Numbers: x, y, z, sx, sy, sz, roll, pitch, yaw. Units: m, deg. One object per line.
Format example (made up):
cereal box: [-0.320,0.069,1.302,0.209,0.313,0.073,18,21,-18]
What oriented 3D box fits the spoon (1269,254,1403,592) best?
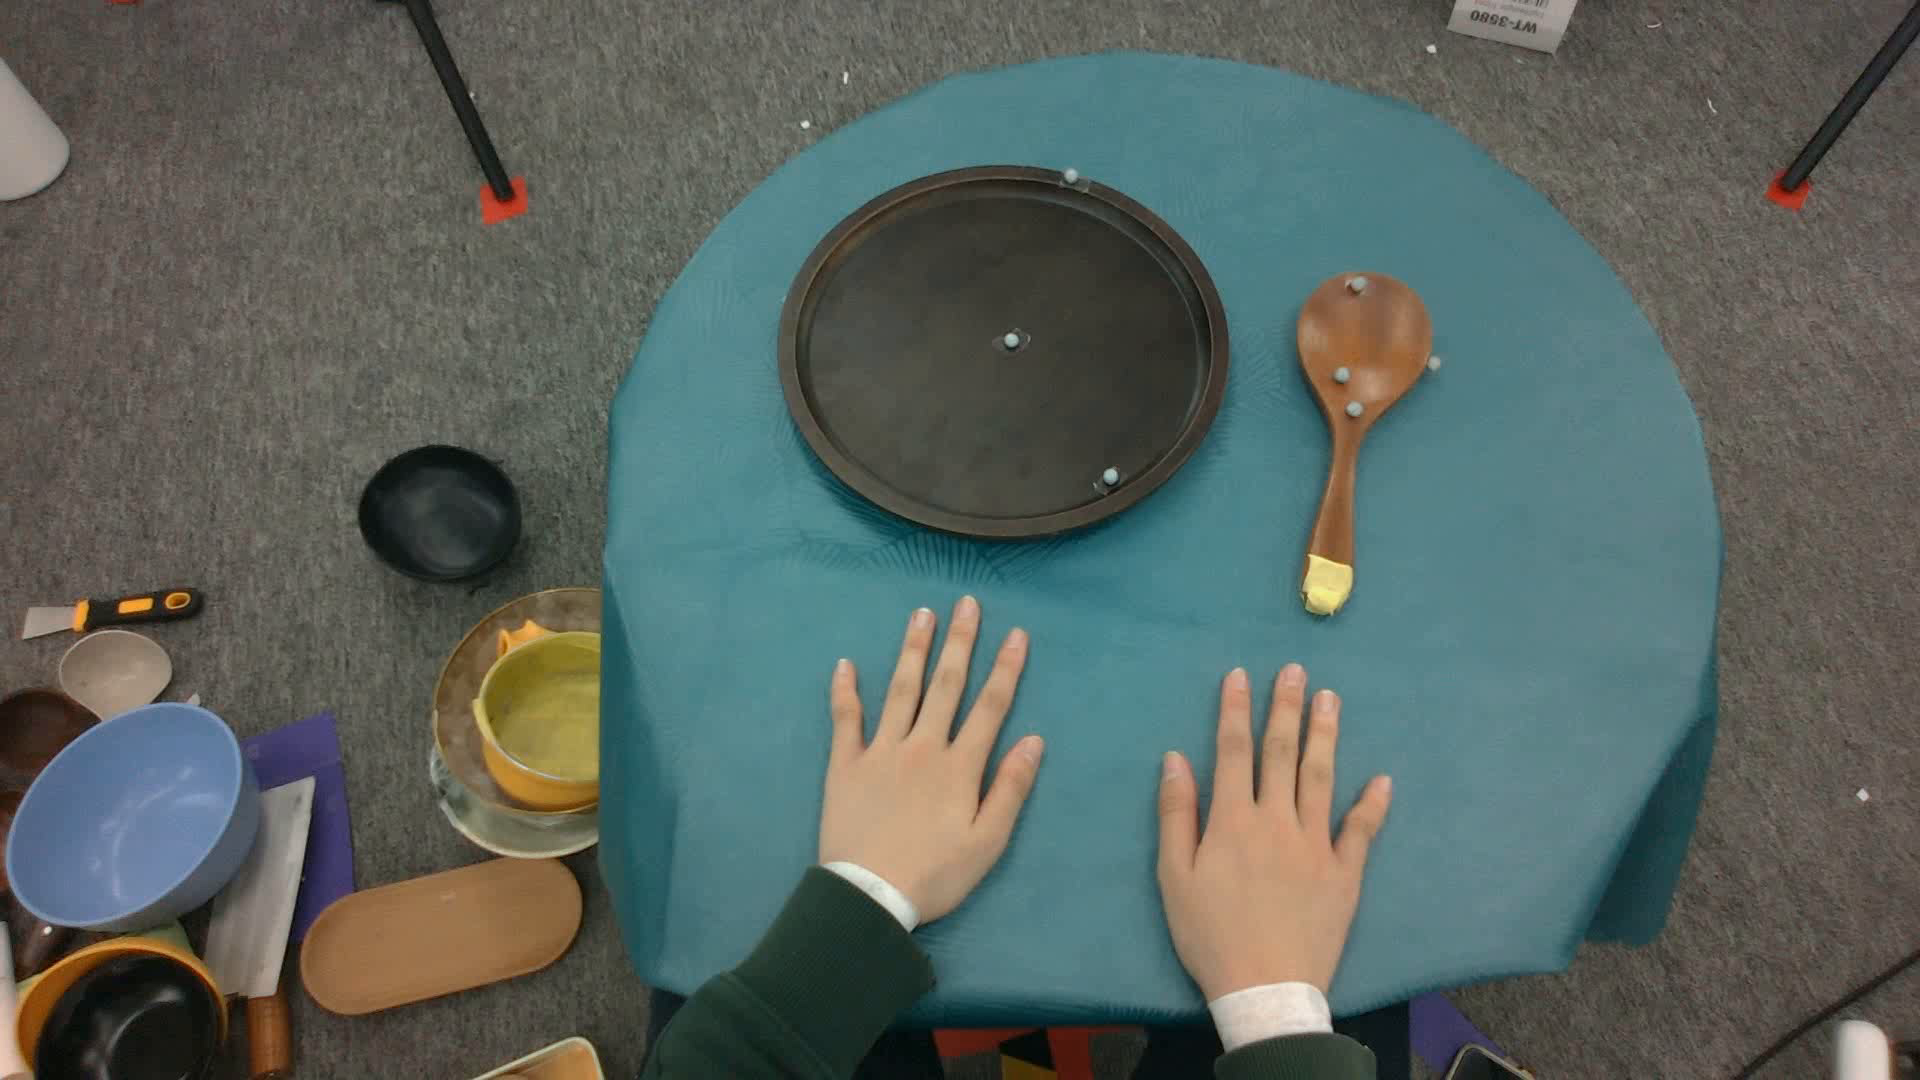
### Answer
spoon: [0.198,-0.068,0.750,0.075,0.017,0.217,12,63,6]

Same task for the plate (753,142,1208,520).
plate: [0.011,-0.121,0.774,0.255,0.029,0.256,0,62,0]
